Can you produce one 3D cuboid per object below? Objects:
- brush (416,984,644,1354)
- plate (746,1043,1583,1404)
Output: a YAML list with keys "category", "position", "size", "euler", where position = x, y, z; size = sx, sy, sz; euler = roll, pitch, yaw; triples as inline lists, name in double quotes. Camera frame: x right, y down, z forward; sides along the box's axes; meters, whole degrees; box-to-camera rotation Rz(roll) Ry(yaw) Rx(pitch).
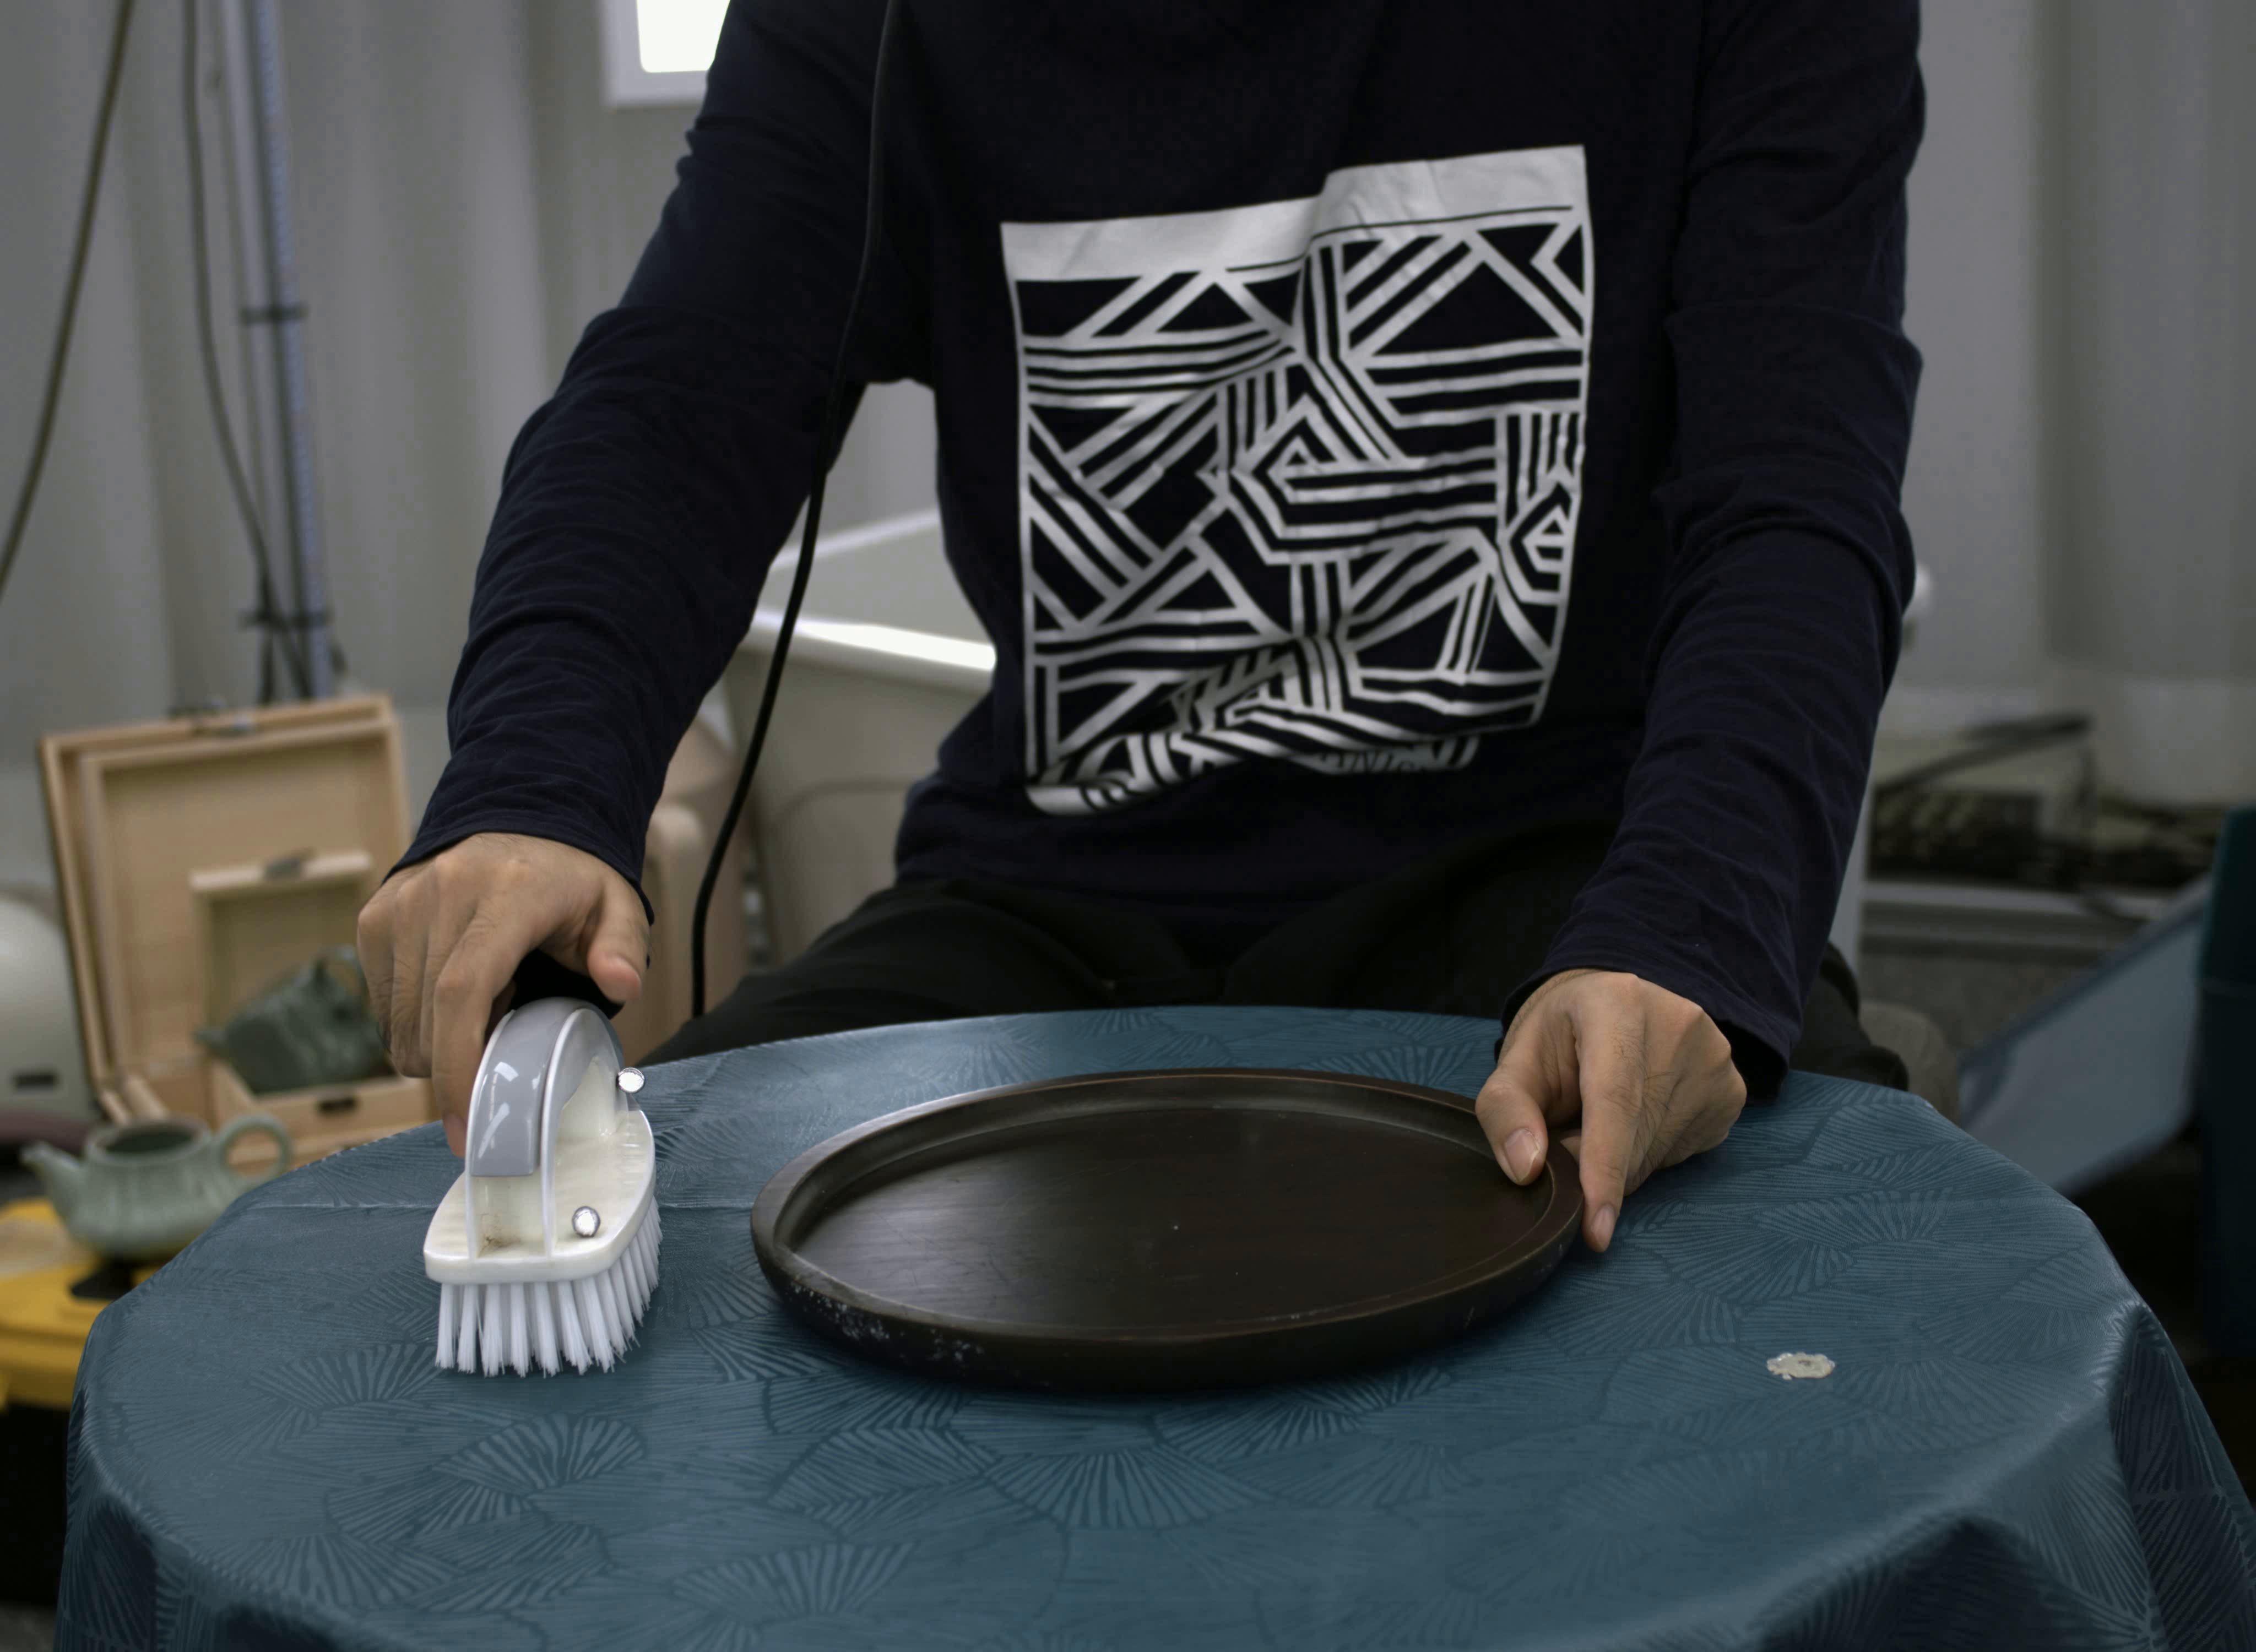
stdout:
- category: "brush"
  position: [-0.175, 0.093, 1.653]
  size: [0.061, 0.094, 0.176]
  euler: [1, 13, 3]
- category: "plate"
  position: [0.011, 0.120, 1.649]
  size: [0.254, 0.029, 0.256]
  euler: [-3, 16, 1]
